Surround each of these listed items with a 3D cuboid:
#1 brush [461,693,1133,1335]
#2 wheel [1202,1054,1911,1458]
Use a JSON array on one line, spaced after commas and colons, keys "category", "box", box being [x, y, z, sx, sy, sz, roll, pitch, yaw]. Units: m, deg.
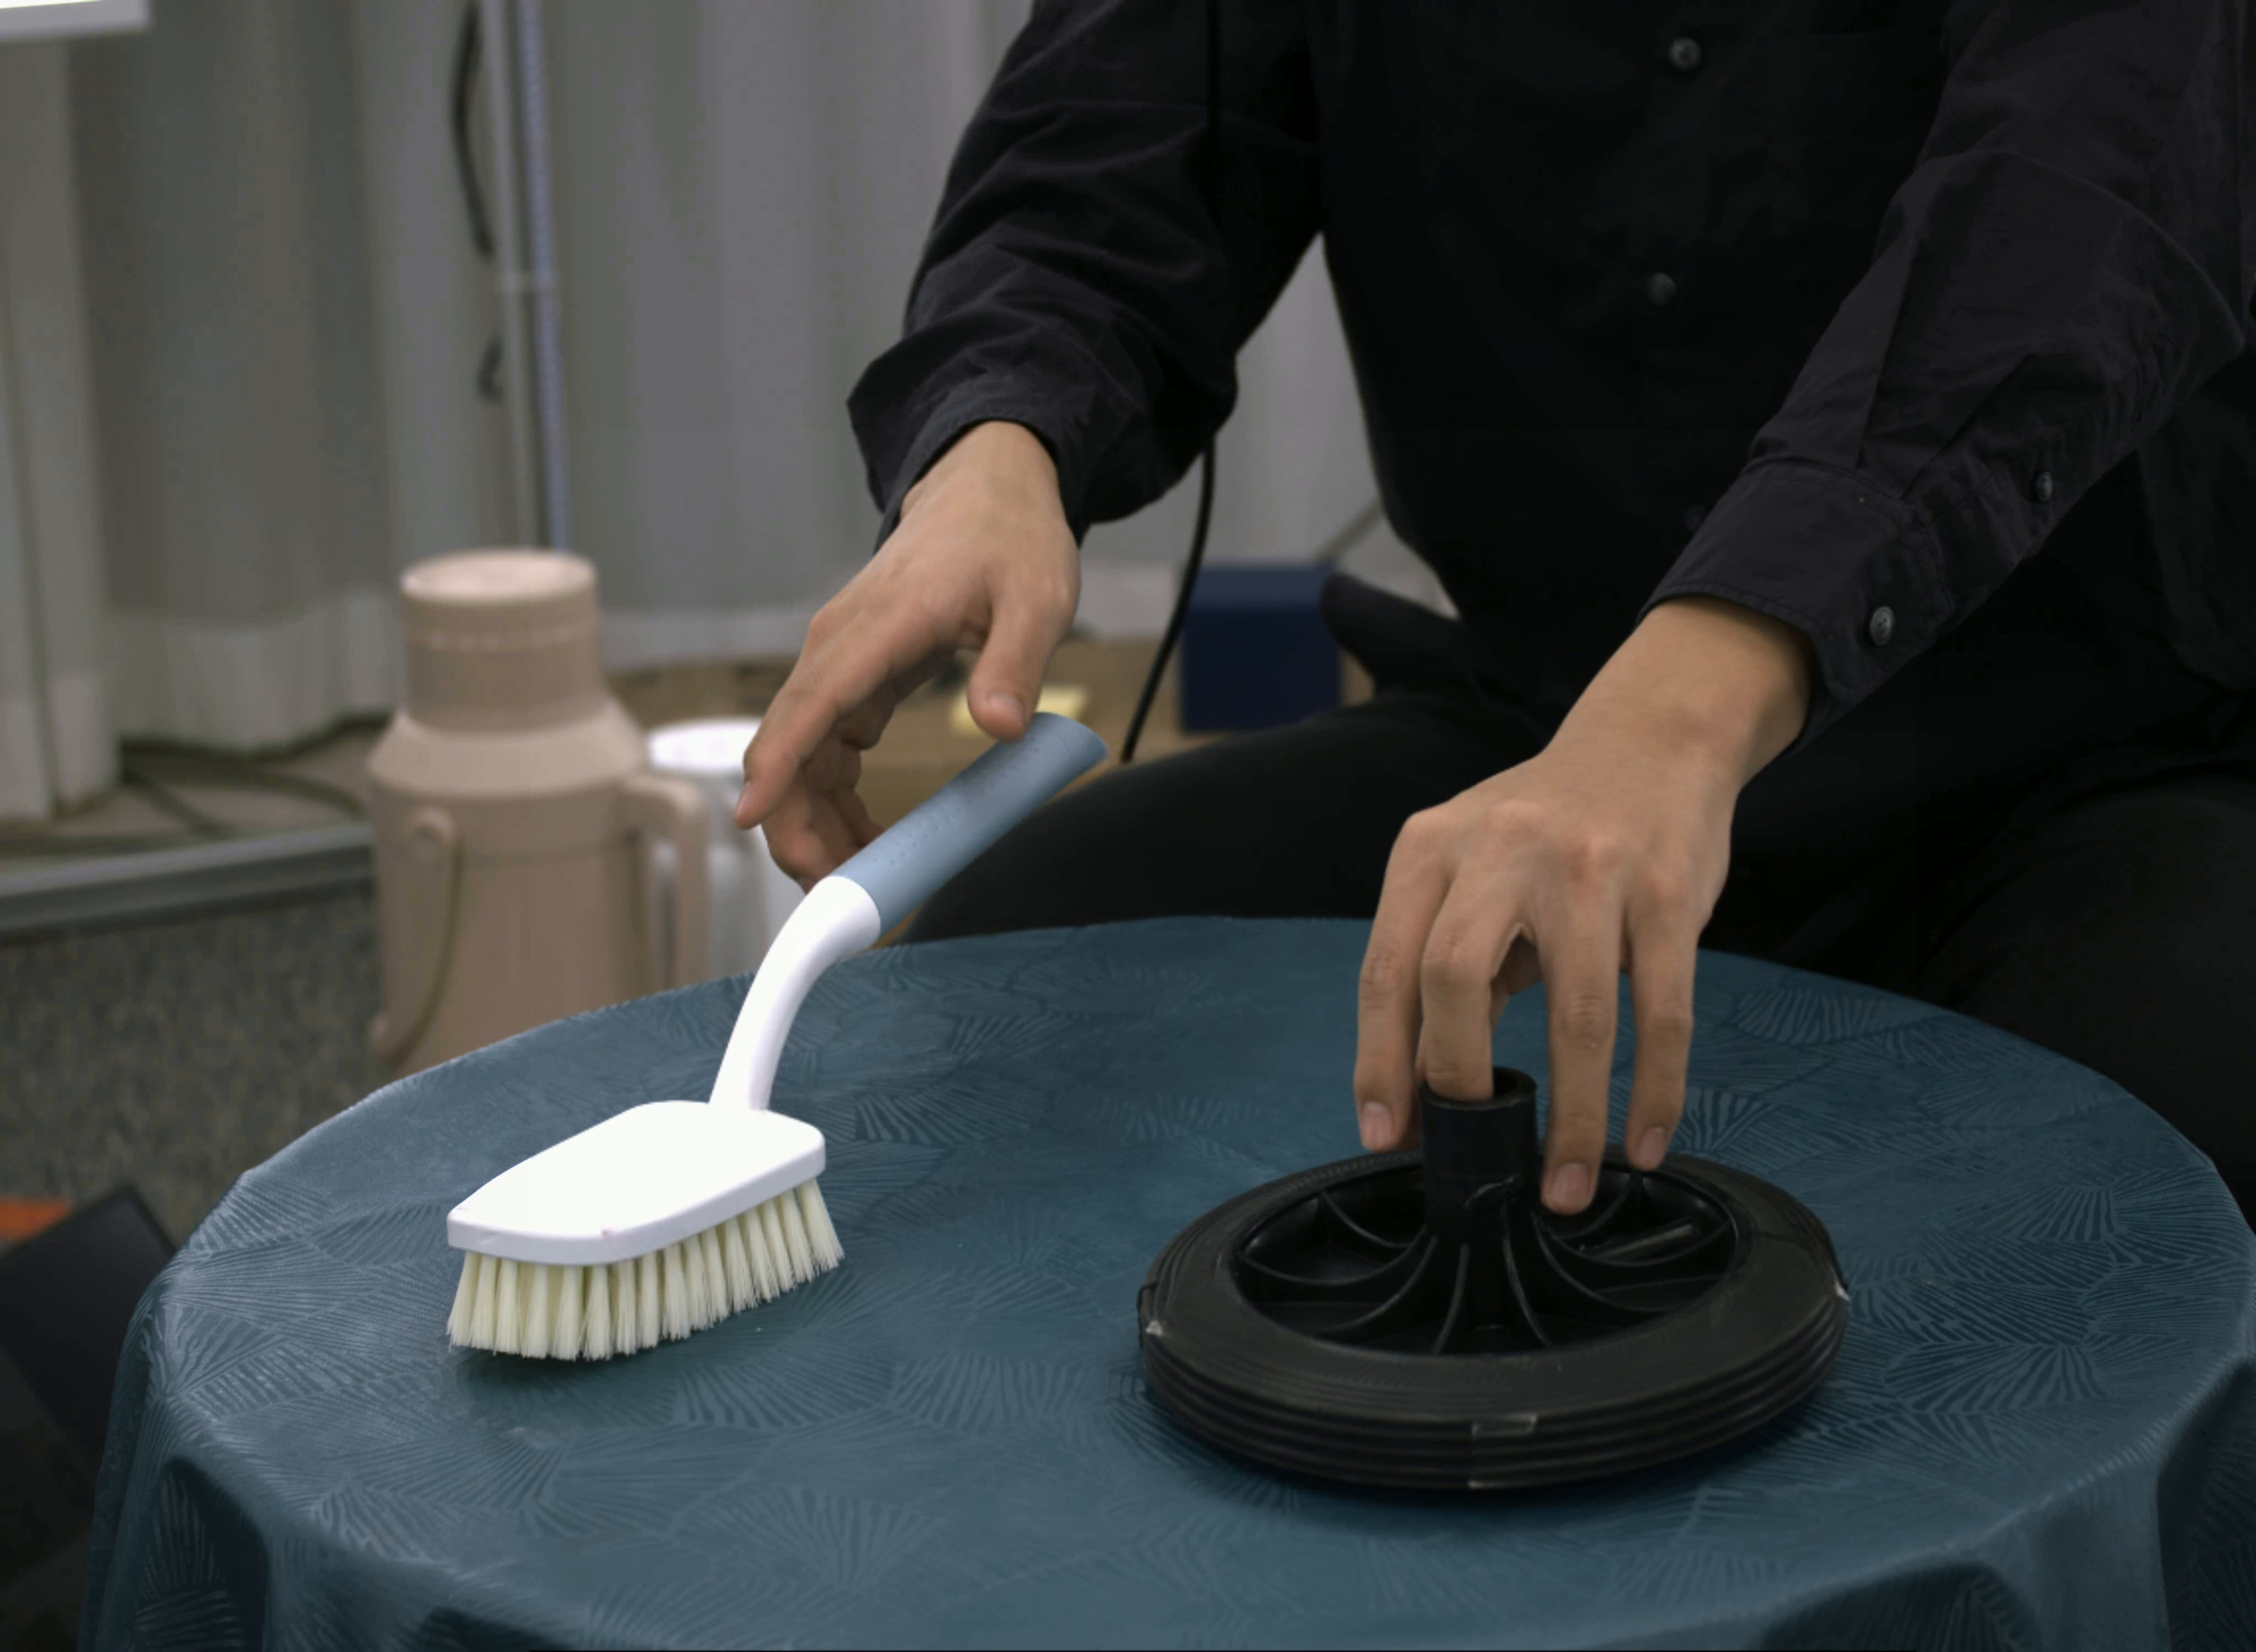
[{"category": "brush", "box": [-0.082, 0.069, 1.565, 0.084, 0.085, 0.321, 39, 43, 10]}, {"category": "wheel", "box": [0.112, 0.103, 1.406, 0.184, 0.079, 0.194, -15, 18, -25]}]
